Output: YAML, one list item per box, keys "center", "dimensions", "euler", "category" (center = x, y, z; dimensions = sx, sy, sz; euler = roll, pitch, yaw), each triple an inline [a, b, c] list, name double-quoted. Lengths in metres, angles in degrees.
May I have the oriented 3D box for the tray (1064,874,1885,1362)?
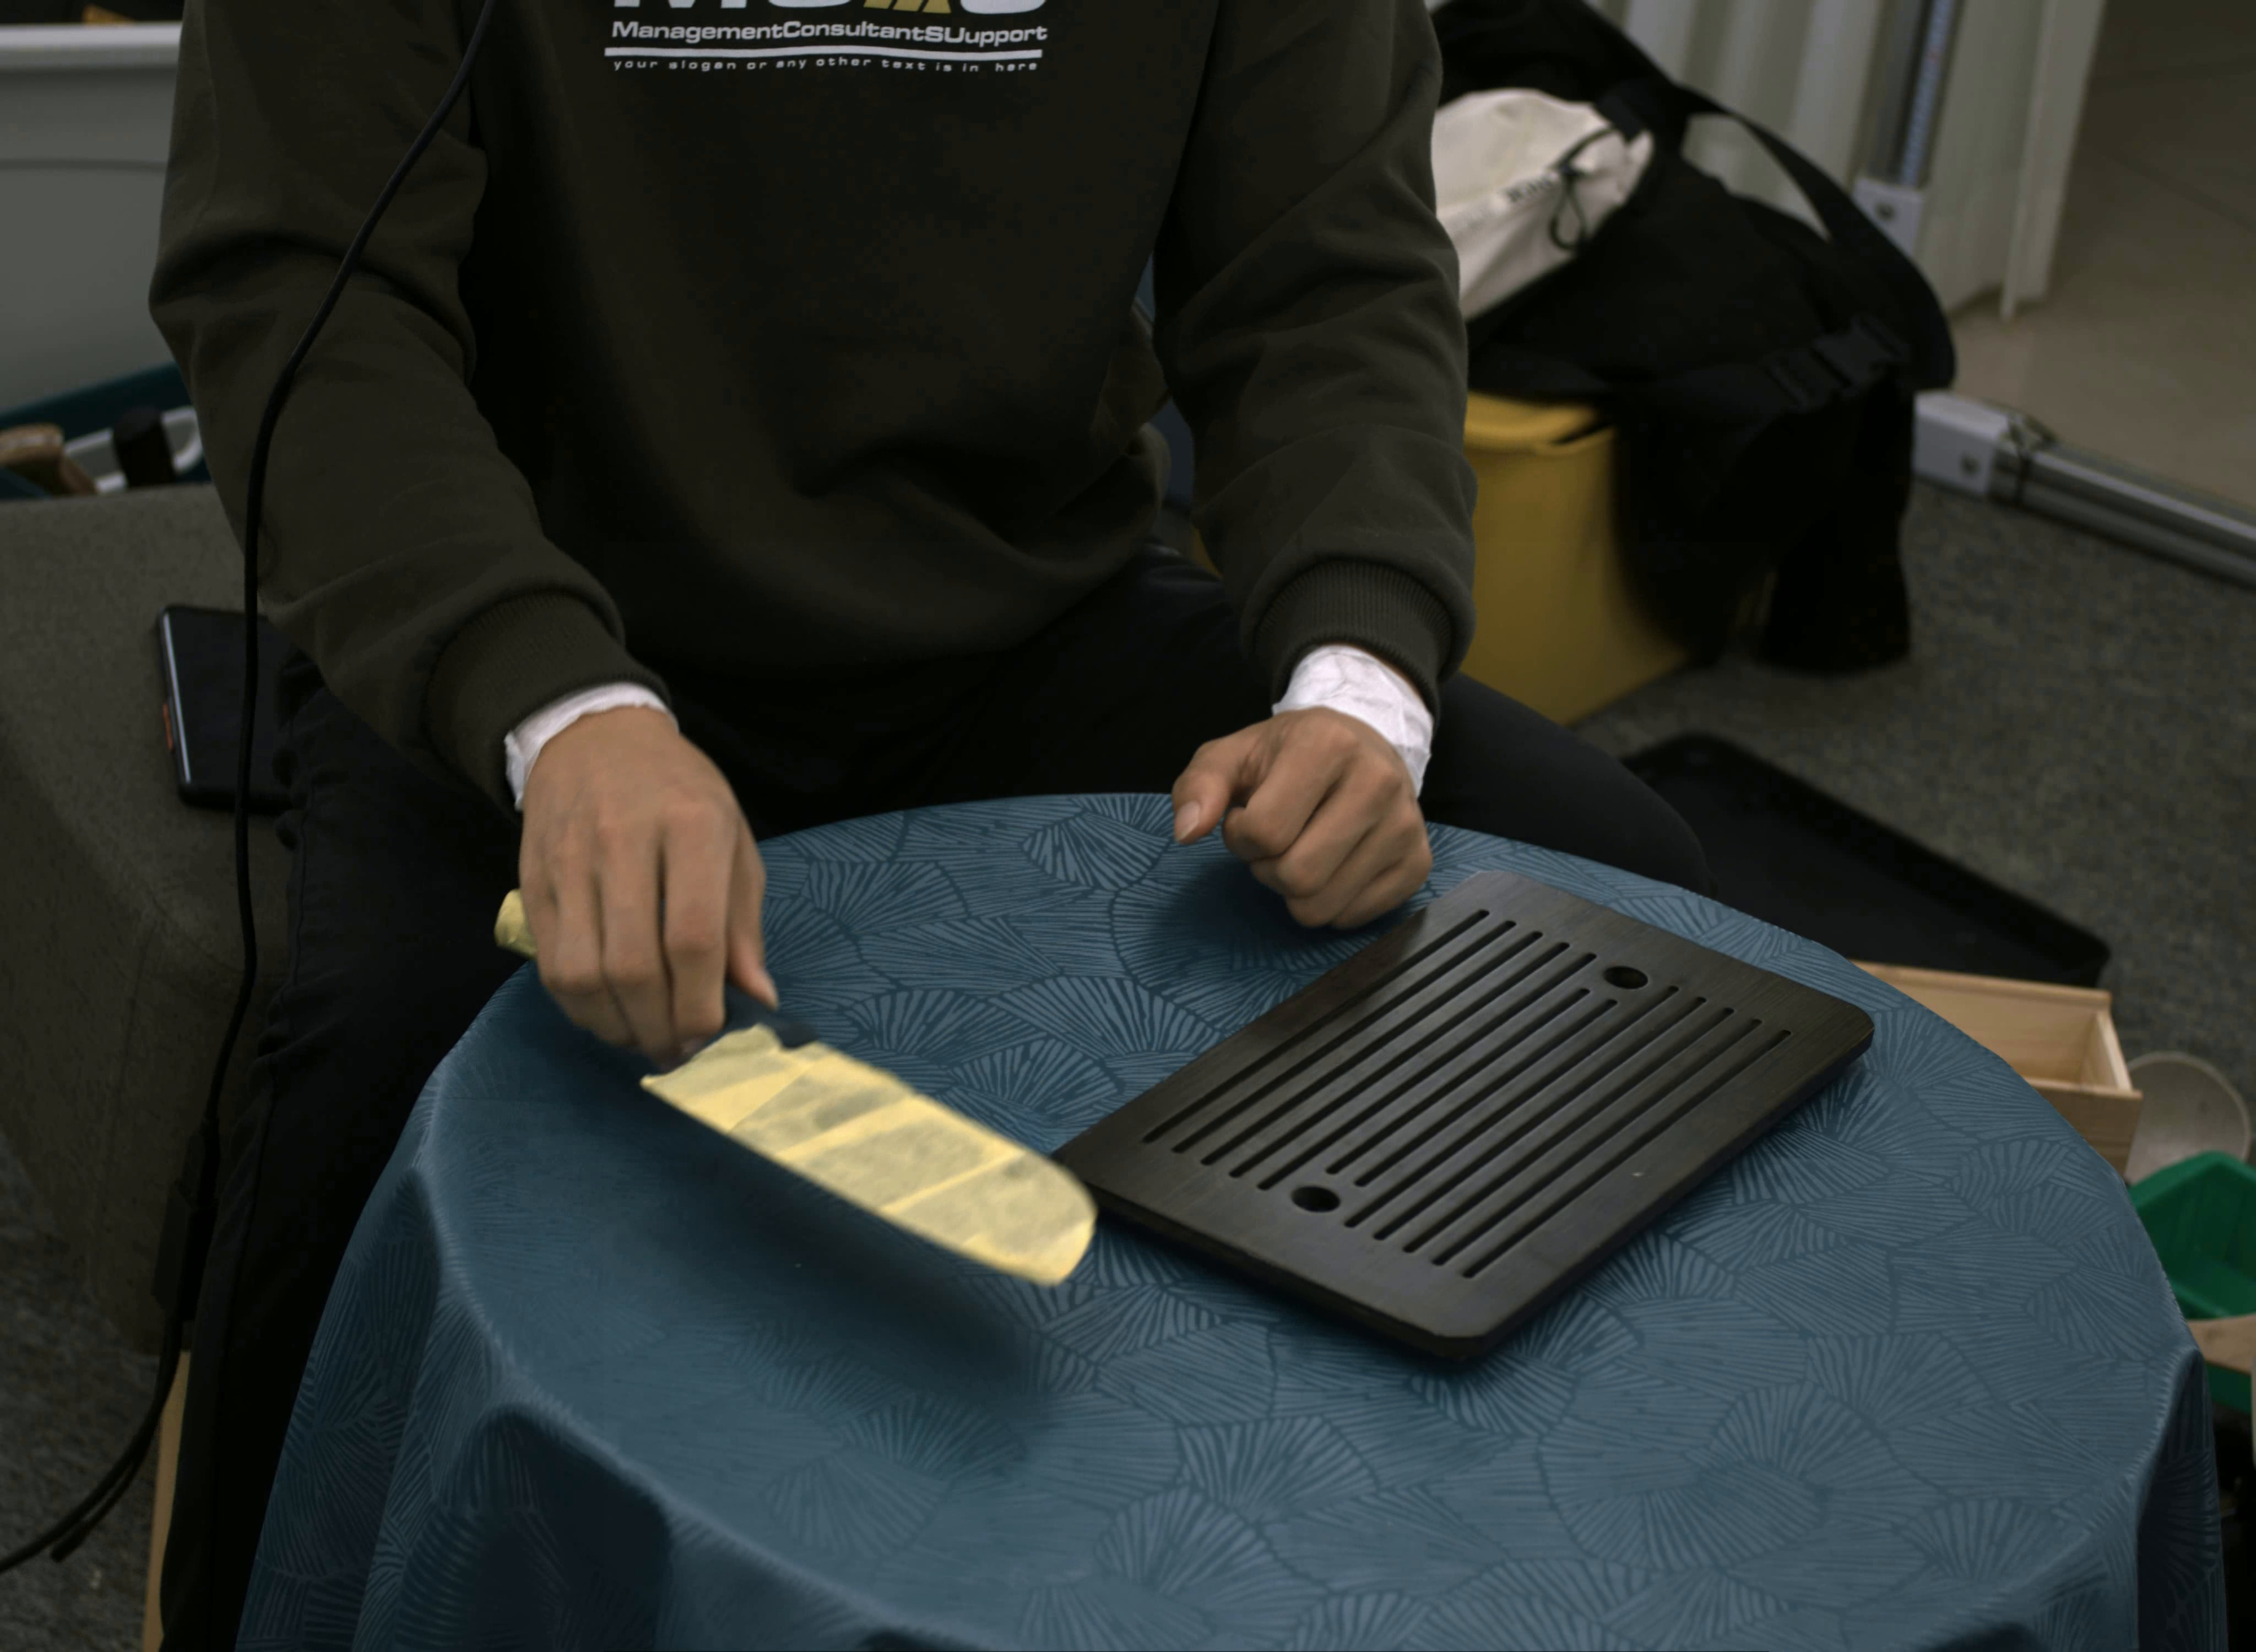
- center: [0.126, 0.099, 1.863]
  dimensions: [0.171, 0.018, 0.305]
  euler: [21, 30, 28]
  category: "tray"

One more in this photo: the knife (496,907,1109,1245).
- center: [-0.117, 0.084, 1.758]
  dimensions: [0.291, 0.027, 0.080]
  euler: [24, 25, 37]
  category: "knife"
